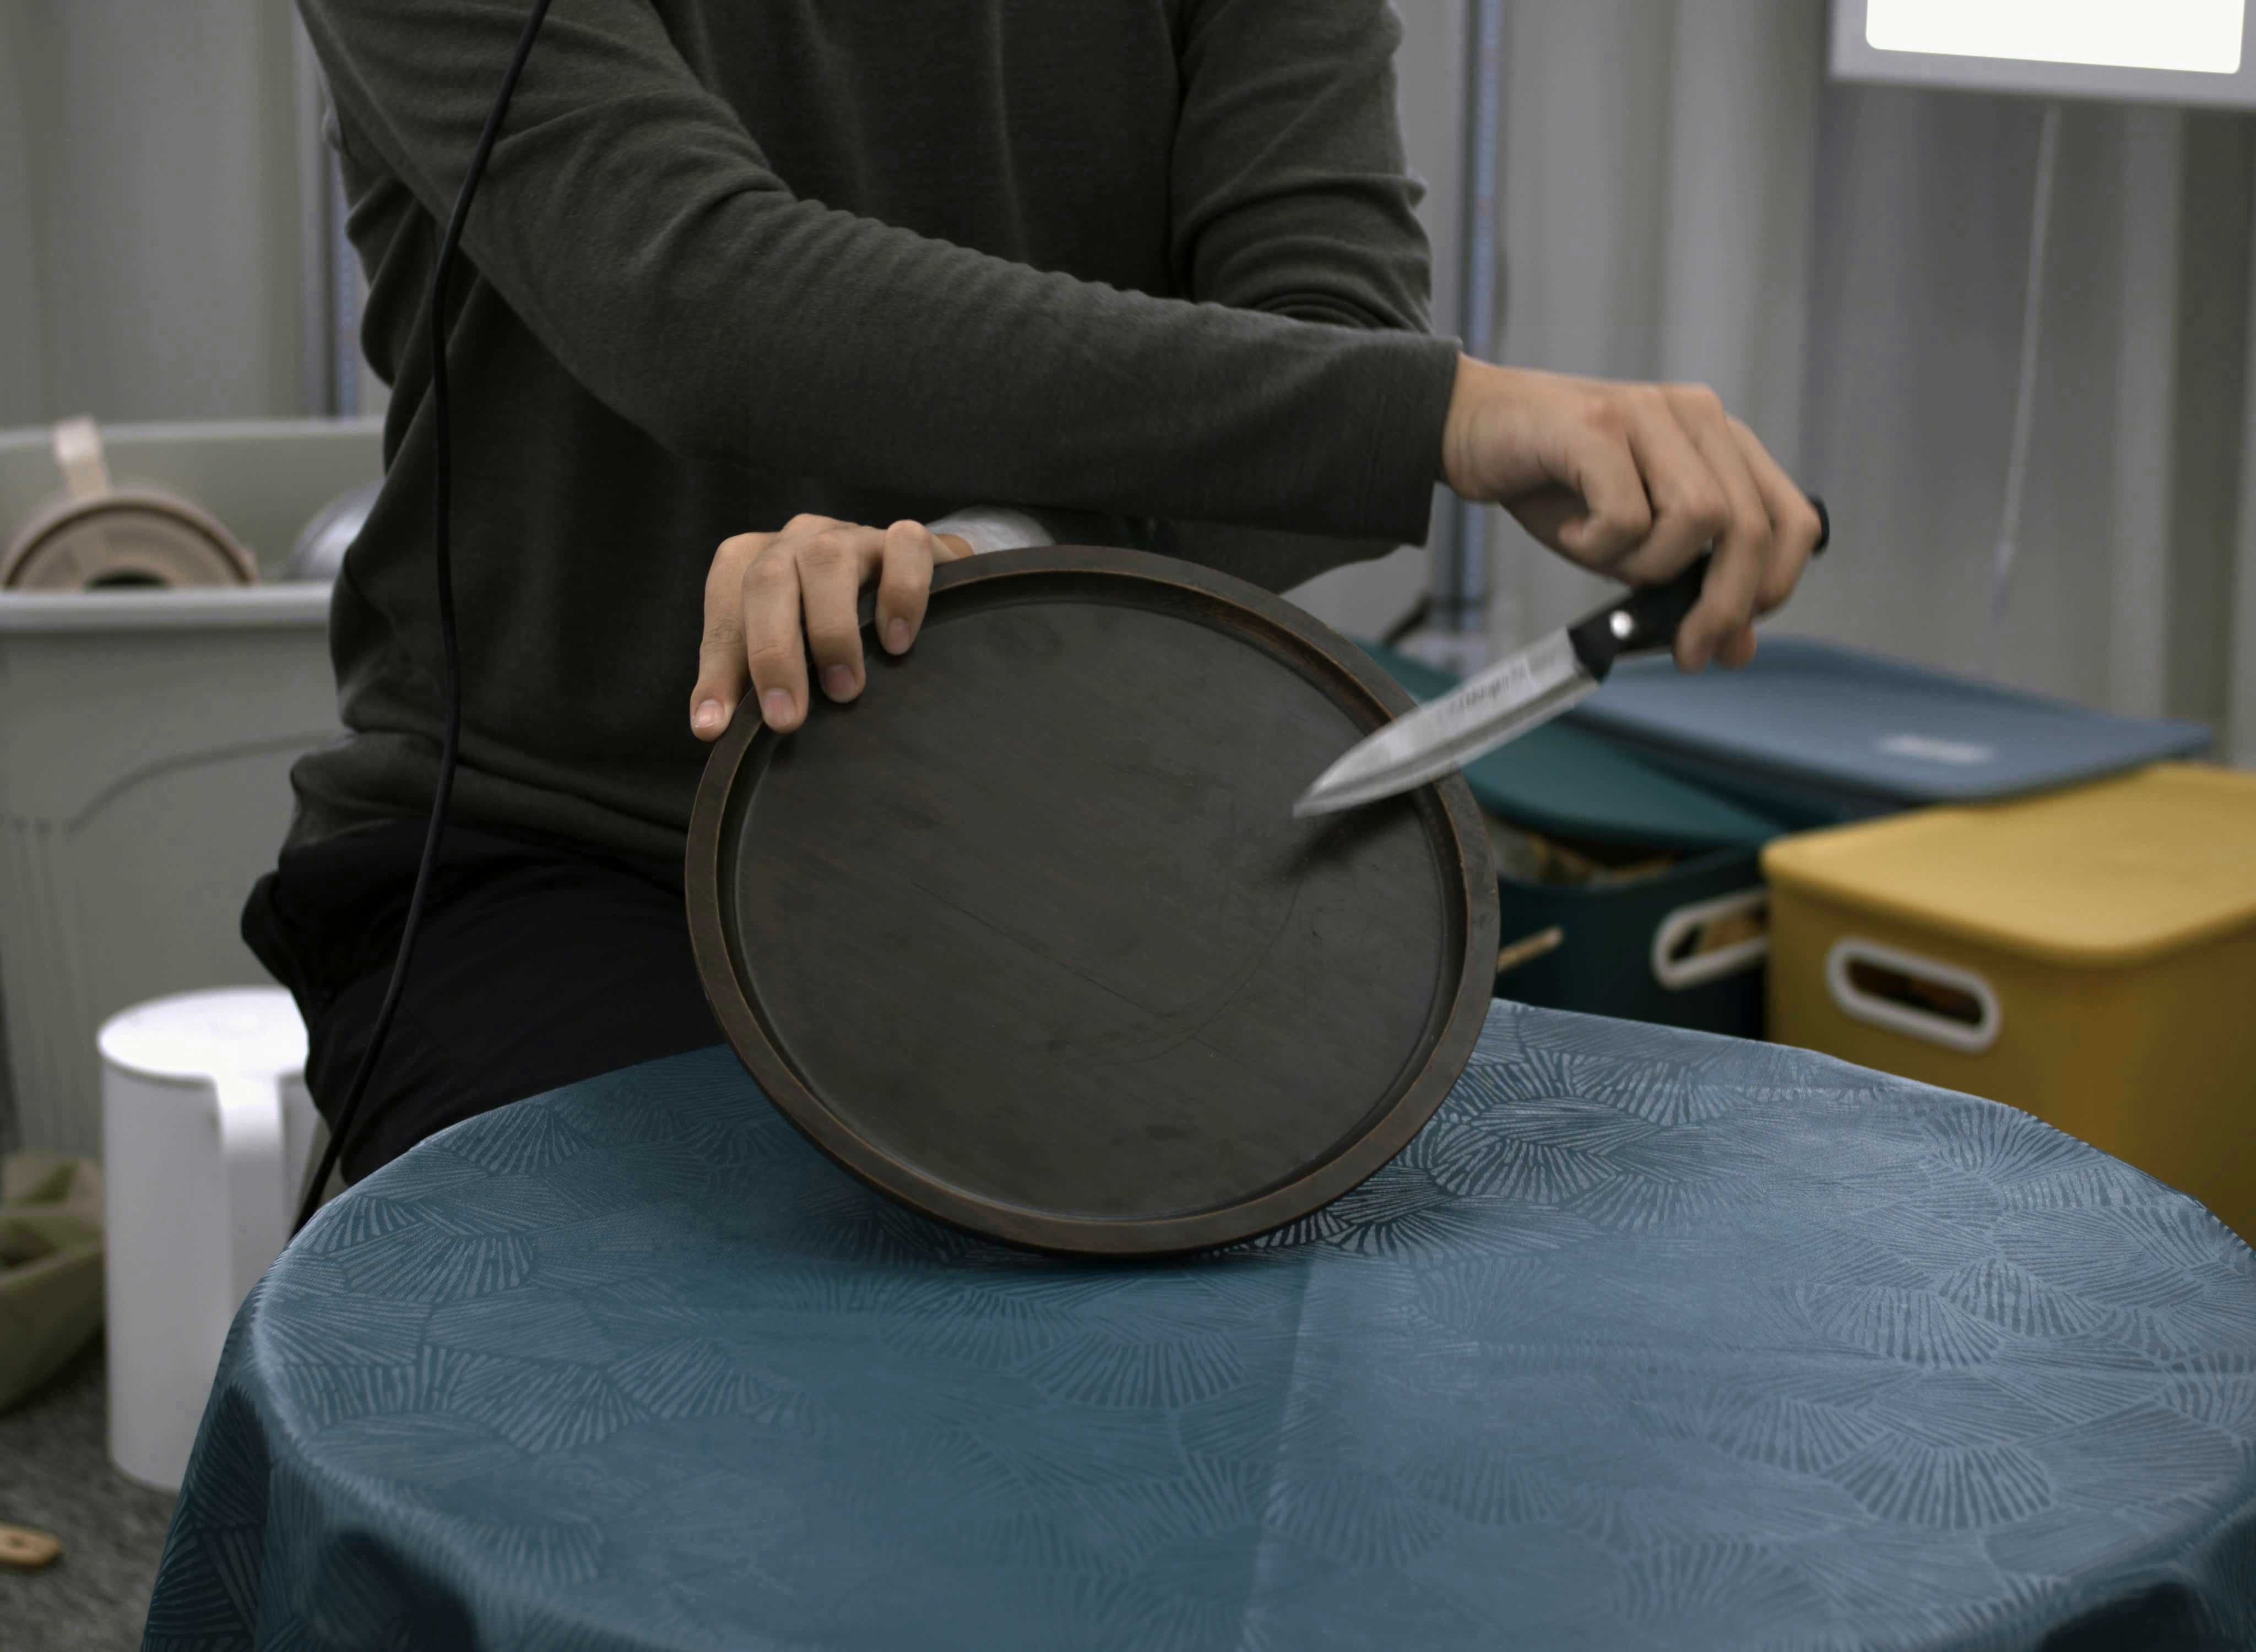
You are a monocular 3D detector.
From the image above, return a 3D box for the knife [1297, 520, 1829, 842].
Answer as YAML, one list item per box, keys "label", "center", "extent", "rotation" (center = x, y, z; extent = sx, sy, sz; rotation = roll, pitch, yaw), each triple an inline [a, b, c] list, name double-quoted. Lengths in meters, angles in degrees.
- label: "knife"
  center: [0.139, -0.048, 1.681]
  extent: [0.238, 0.024, 0.016]
  rotation: [-29, -2, -32]

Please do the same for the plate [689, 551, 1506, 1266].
- label: "plate"
  center: [-0.010, 0.024, 1.621]
  extent: [0.254, 0.029, 0.253]
  rotation: [5, 58, -8]
